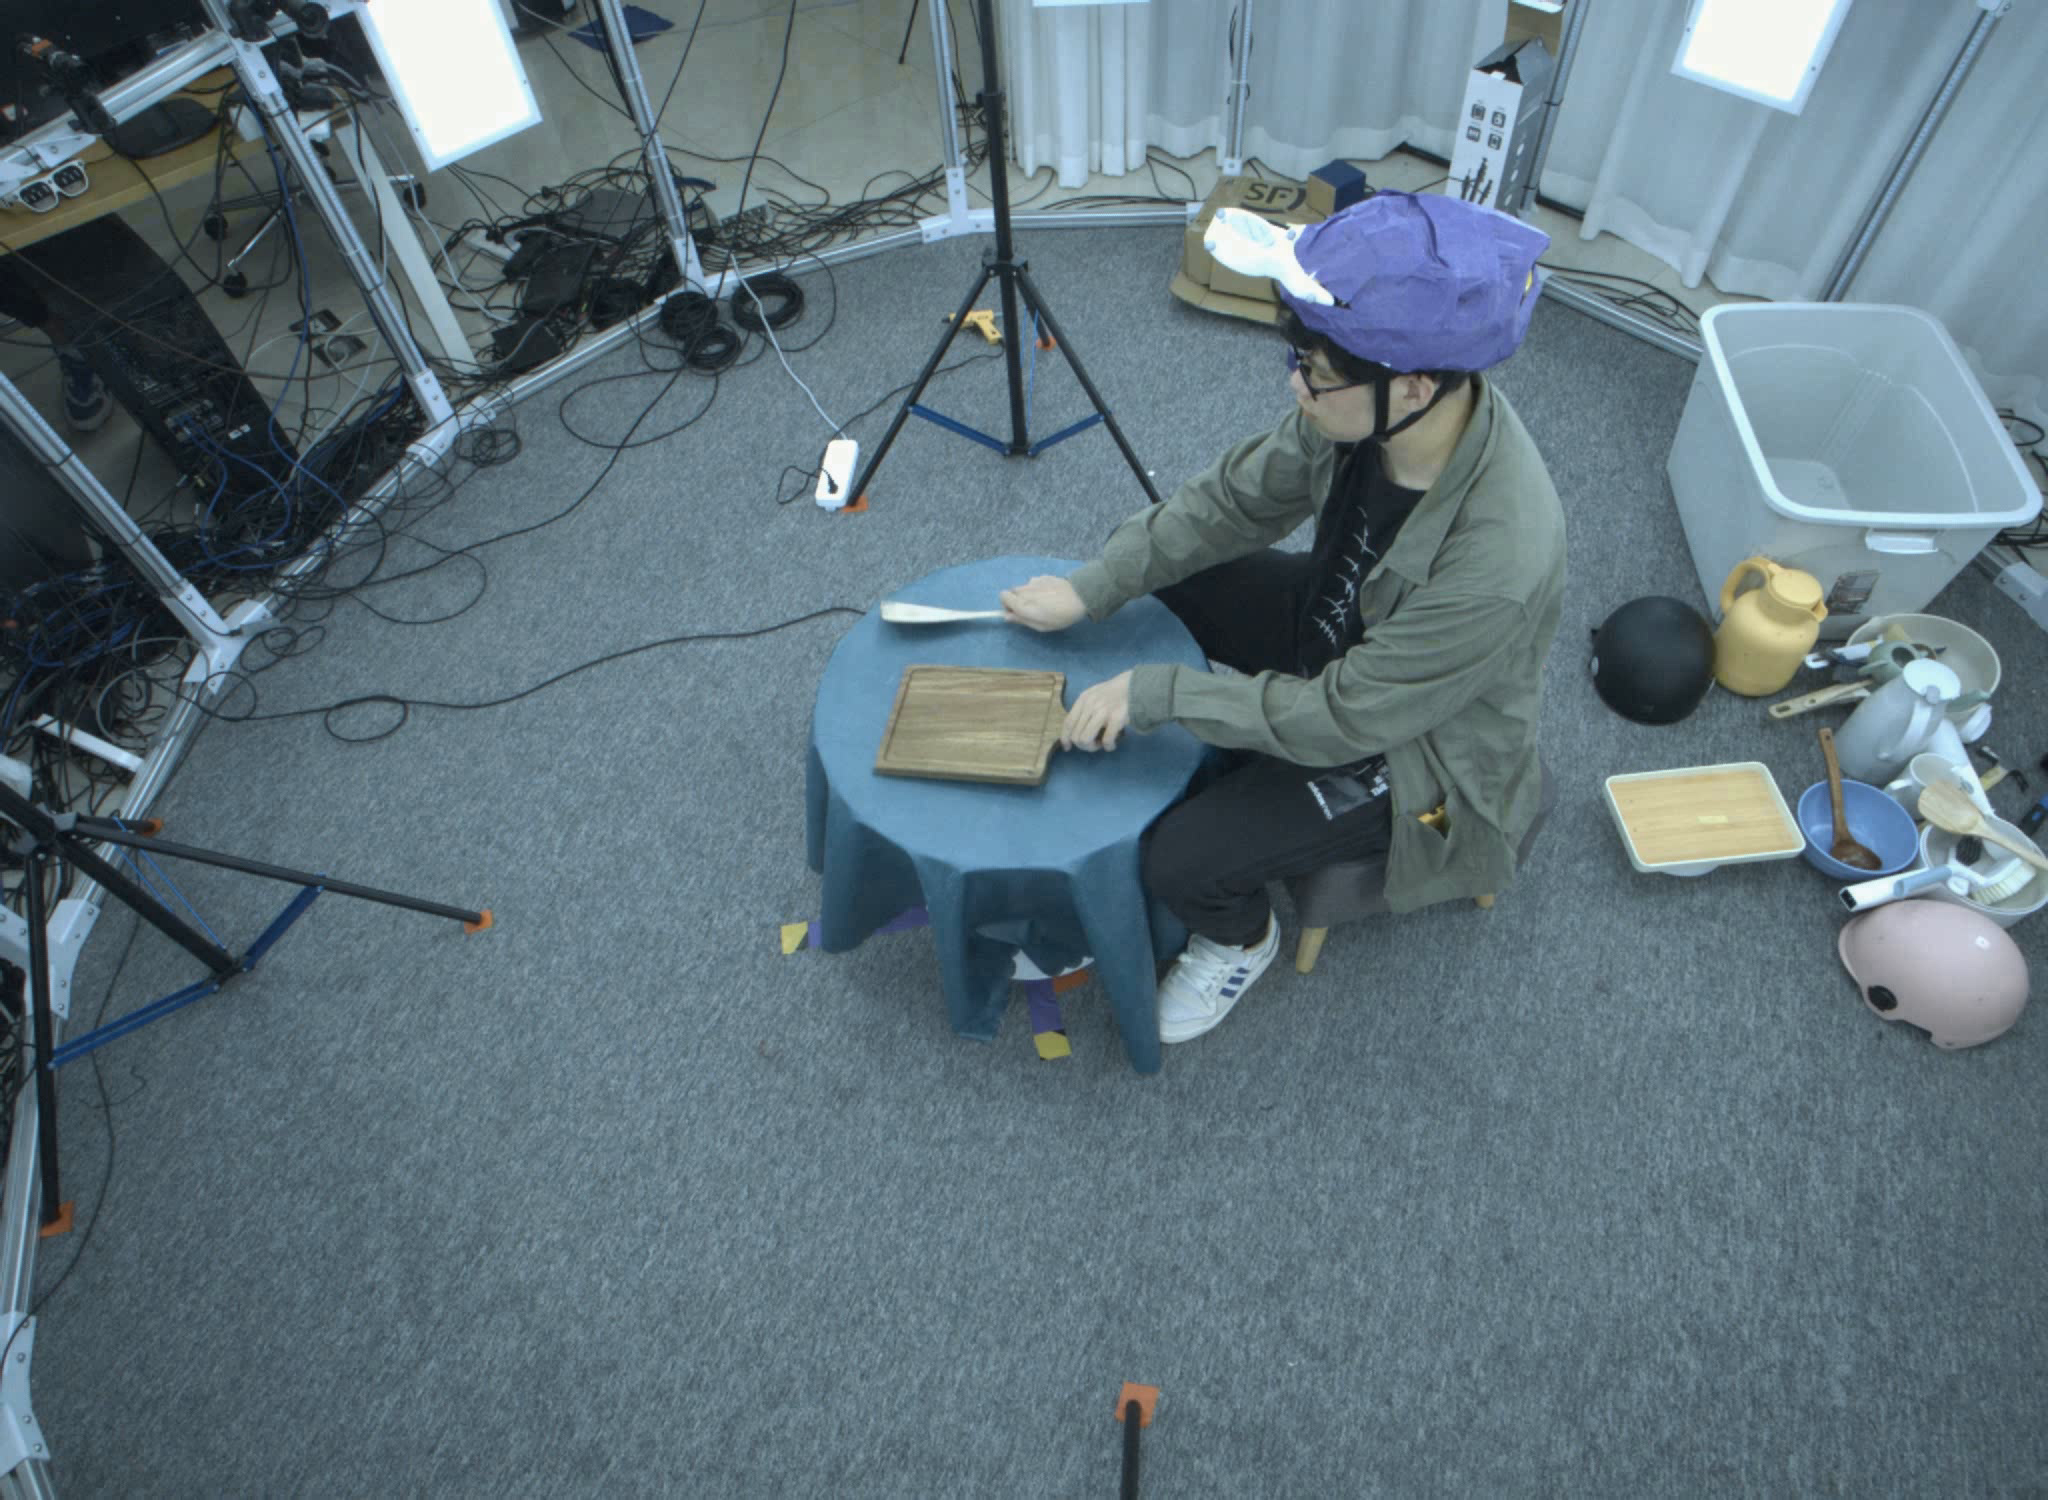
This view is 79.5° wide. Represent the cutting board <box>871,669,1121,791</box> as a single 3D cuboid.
[{"bbox_3d":[-0.034,-0.029,1.783,0.349,0.023,0.200,5,55,11],"label":"cutting board"}]

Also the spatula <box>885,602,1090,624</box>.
[{"bbox_3d":[-0.061,-0.215,1.916,0.327,0.016,0.079,-1,27,4],"label":"spatula"}]
